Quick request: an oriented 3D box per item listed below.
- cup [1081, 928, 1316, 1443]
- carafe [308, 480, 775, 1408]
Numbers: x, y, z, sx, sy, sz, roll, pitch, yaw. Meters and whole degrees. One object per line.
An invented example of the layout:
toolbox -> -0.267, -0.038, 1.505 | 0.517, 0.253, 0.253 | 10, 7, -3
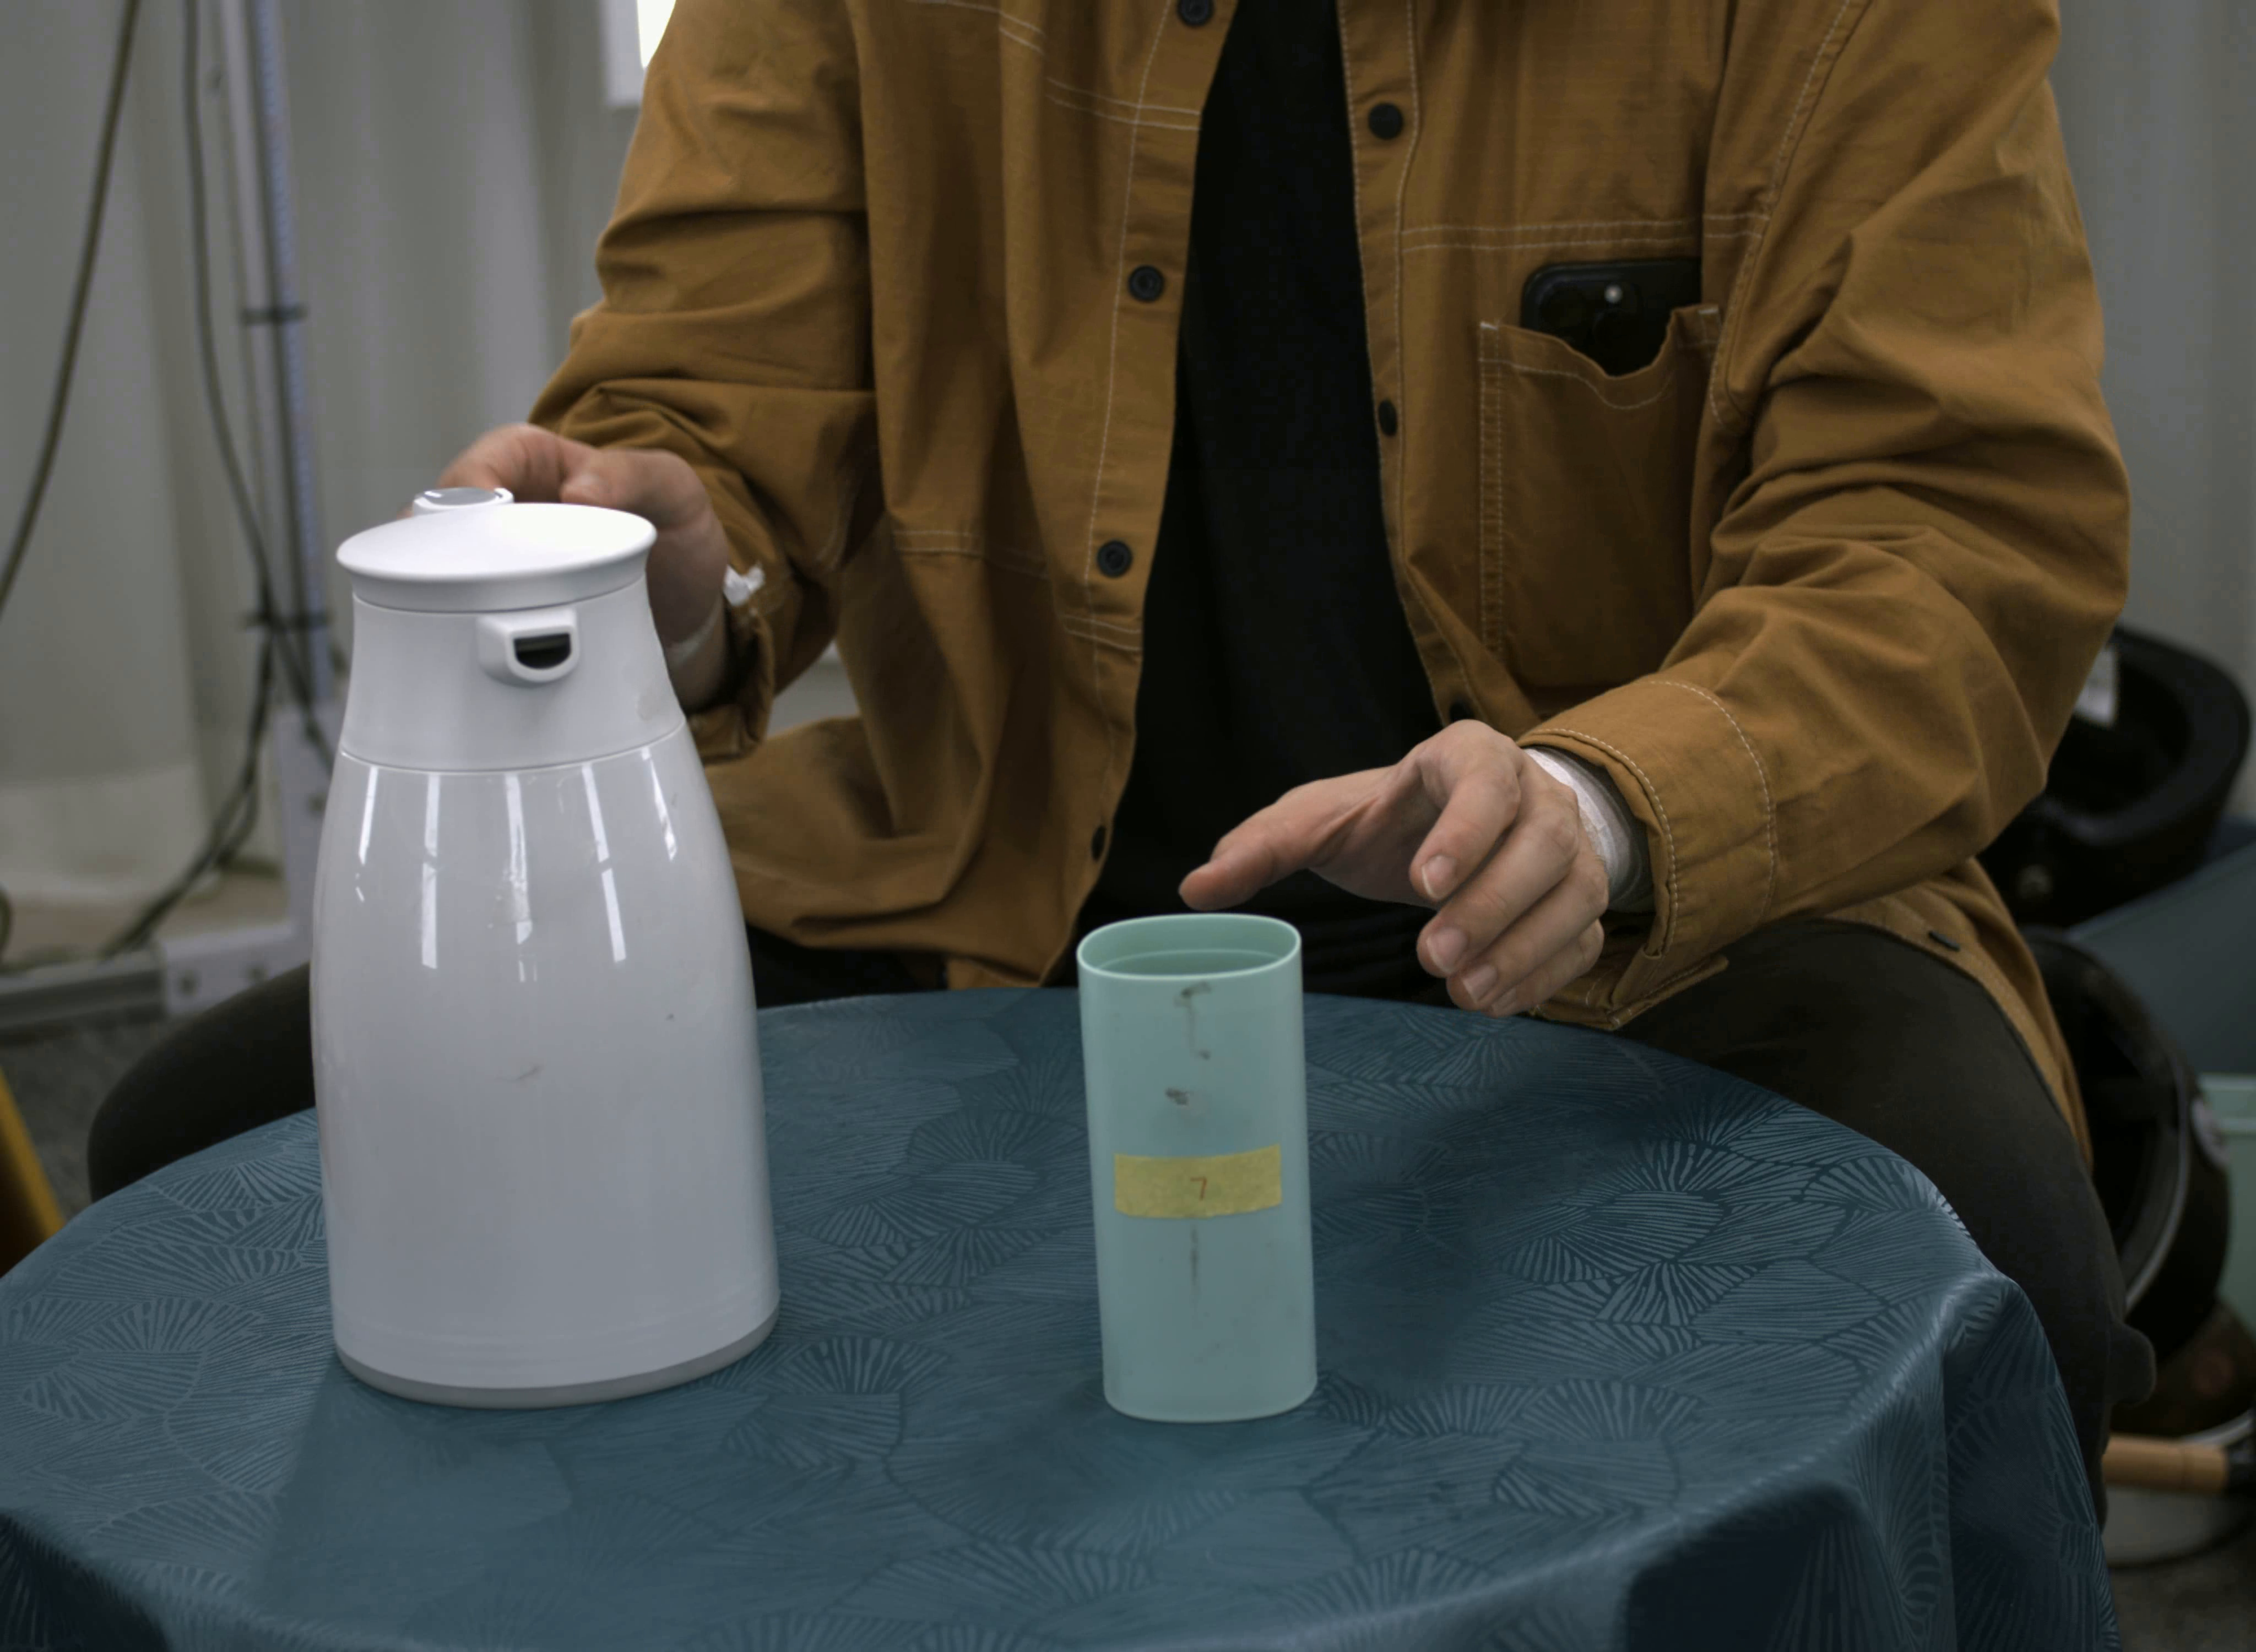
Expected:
cup -> 0.021, 0.099, 1.529 | 0.066, 0.132, 0.067 | -2, 13, 0
carafe -> -0.182, 0.026, 1.605 | 0.132, 0.248, 0.169 | -7, 14, -17
